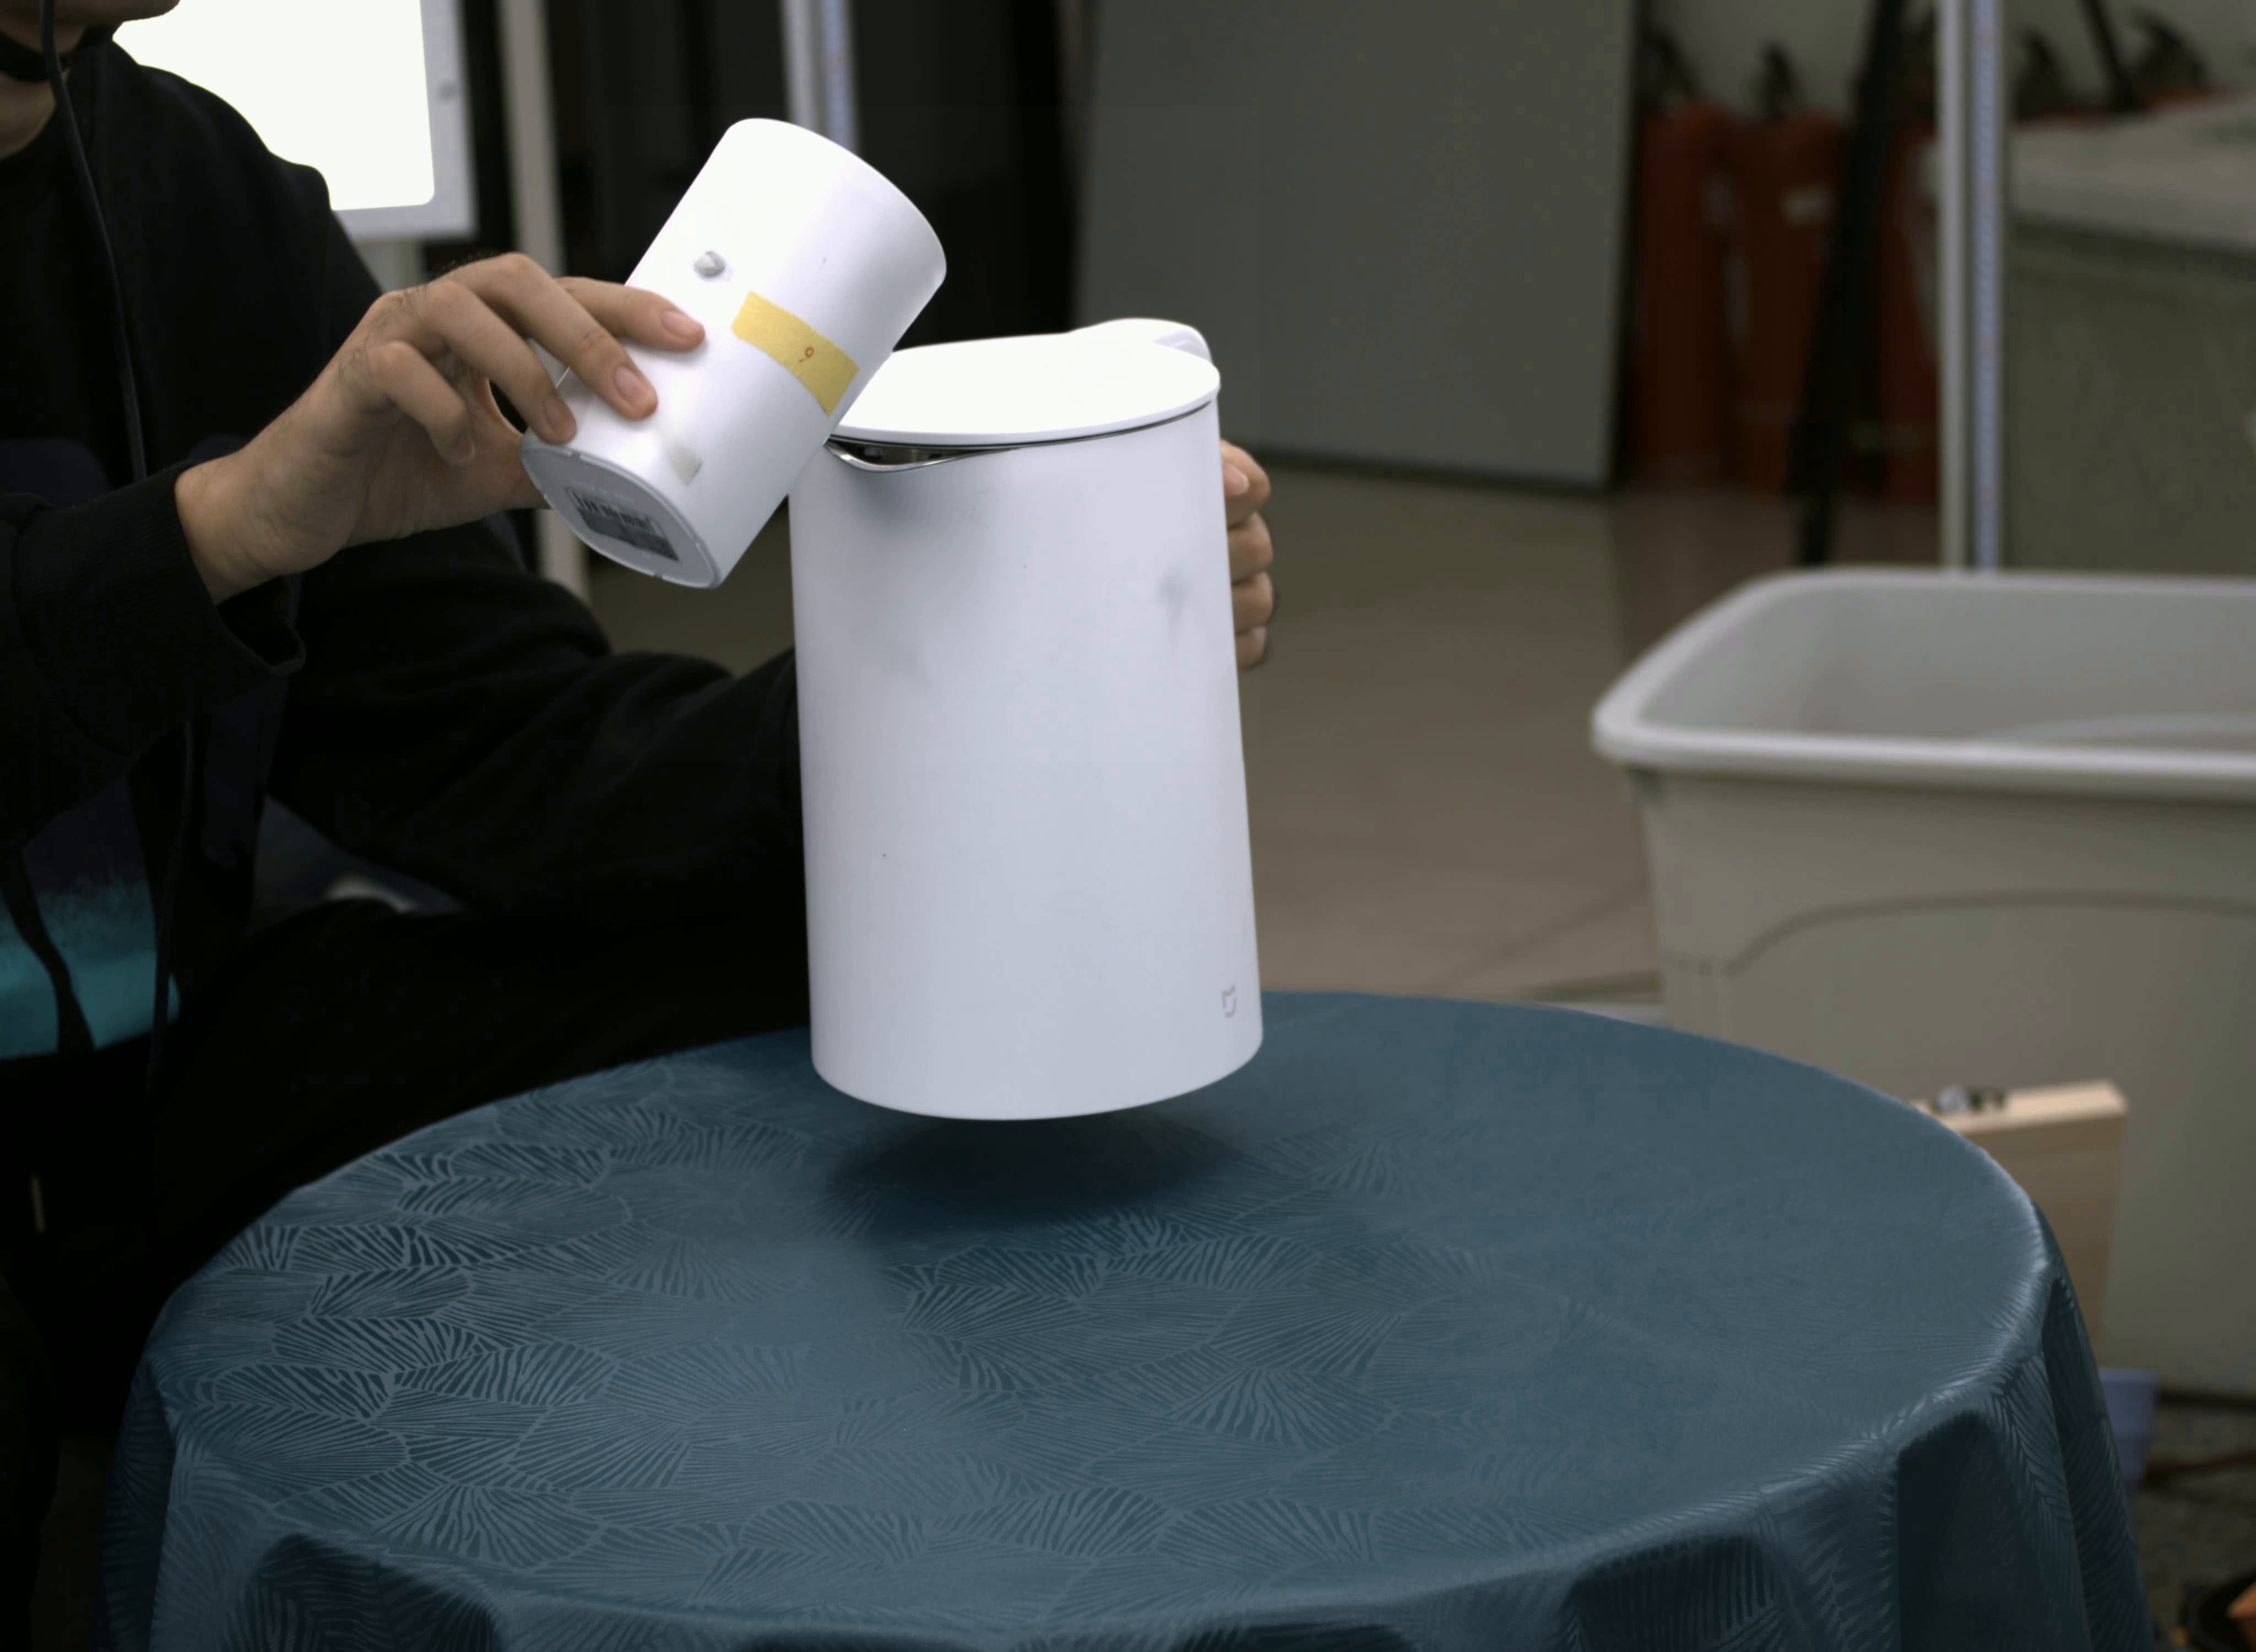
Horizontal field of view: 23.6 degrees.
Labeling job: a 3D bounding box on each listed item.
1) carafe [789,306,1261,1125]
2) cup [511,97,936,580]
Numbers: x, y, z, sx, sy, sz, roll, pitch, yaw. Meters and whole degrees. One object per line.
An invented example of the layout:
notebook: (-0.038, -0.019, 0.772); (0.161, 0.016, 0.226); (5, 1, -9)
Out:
carafe: (-0.022, -0.043, 1.796); (0.152, 0.243, 0.210); (6, 19, 28)
cup: (-0.122, -0.144, 1.628); (0.082, 0.081, 0.125); (10, 60, 45)
